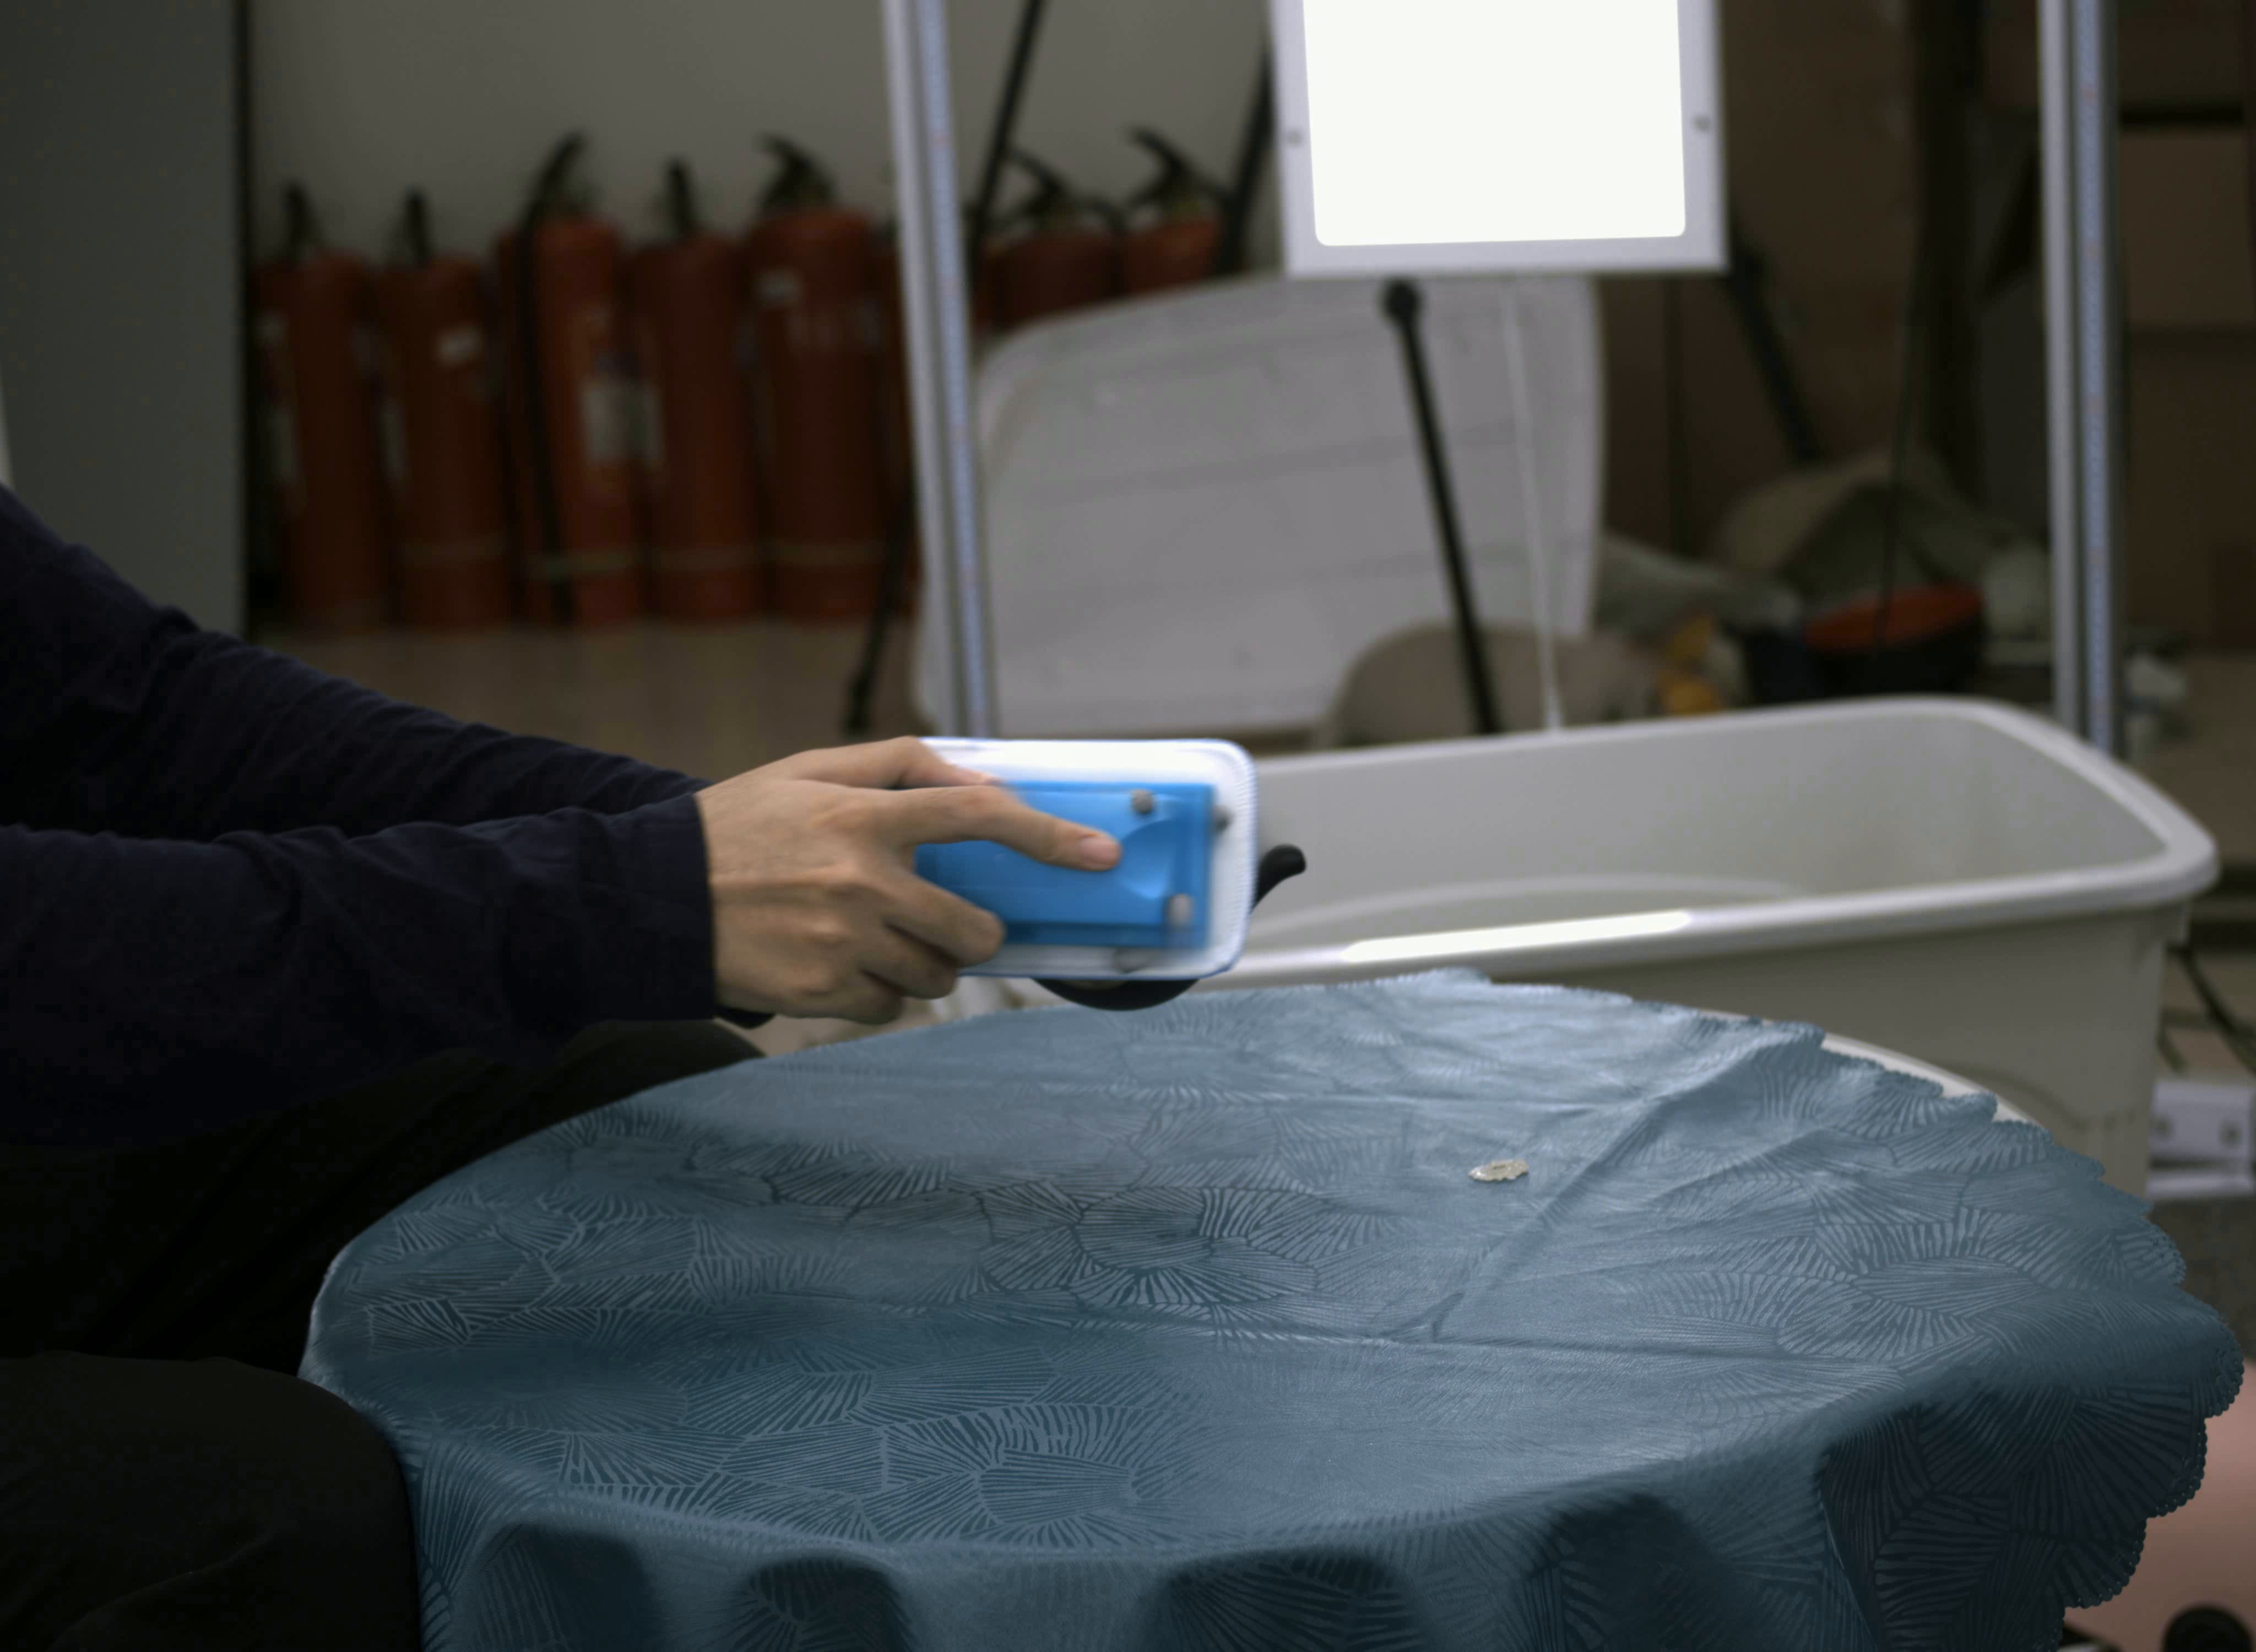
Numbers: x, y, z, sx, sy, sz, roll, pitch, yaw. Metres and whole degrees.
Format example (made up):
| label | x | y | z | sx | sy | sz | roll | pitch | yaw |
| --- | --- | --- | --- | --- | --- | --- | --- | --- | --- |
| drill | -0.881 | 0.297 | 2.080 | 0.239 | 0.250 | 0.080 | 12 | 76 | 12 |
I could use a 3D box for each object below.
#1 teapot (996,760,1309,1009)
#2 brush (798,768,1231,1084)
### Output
| label | x | y | z | sx | sy | sz | roll | pitch | yaw |
| --- | --- | --- | --- | --- | --- | --- | --- | --- | --- |
| teapot | -0.007 | 0.019 | 1.884 | 0.135 | 0.091 | 0.052 | 2 | 28 | 27 |
| brush | -0.041 | 0.027 | 1.813 | 0.144 | 0.084 | 0.055 | -17 | -22 | 9 |
